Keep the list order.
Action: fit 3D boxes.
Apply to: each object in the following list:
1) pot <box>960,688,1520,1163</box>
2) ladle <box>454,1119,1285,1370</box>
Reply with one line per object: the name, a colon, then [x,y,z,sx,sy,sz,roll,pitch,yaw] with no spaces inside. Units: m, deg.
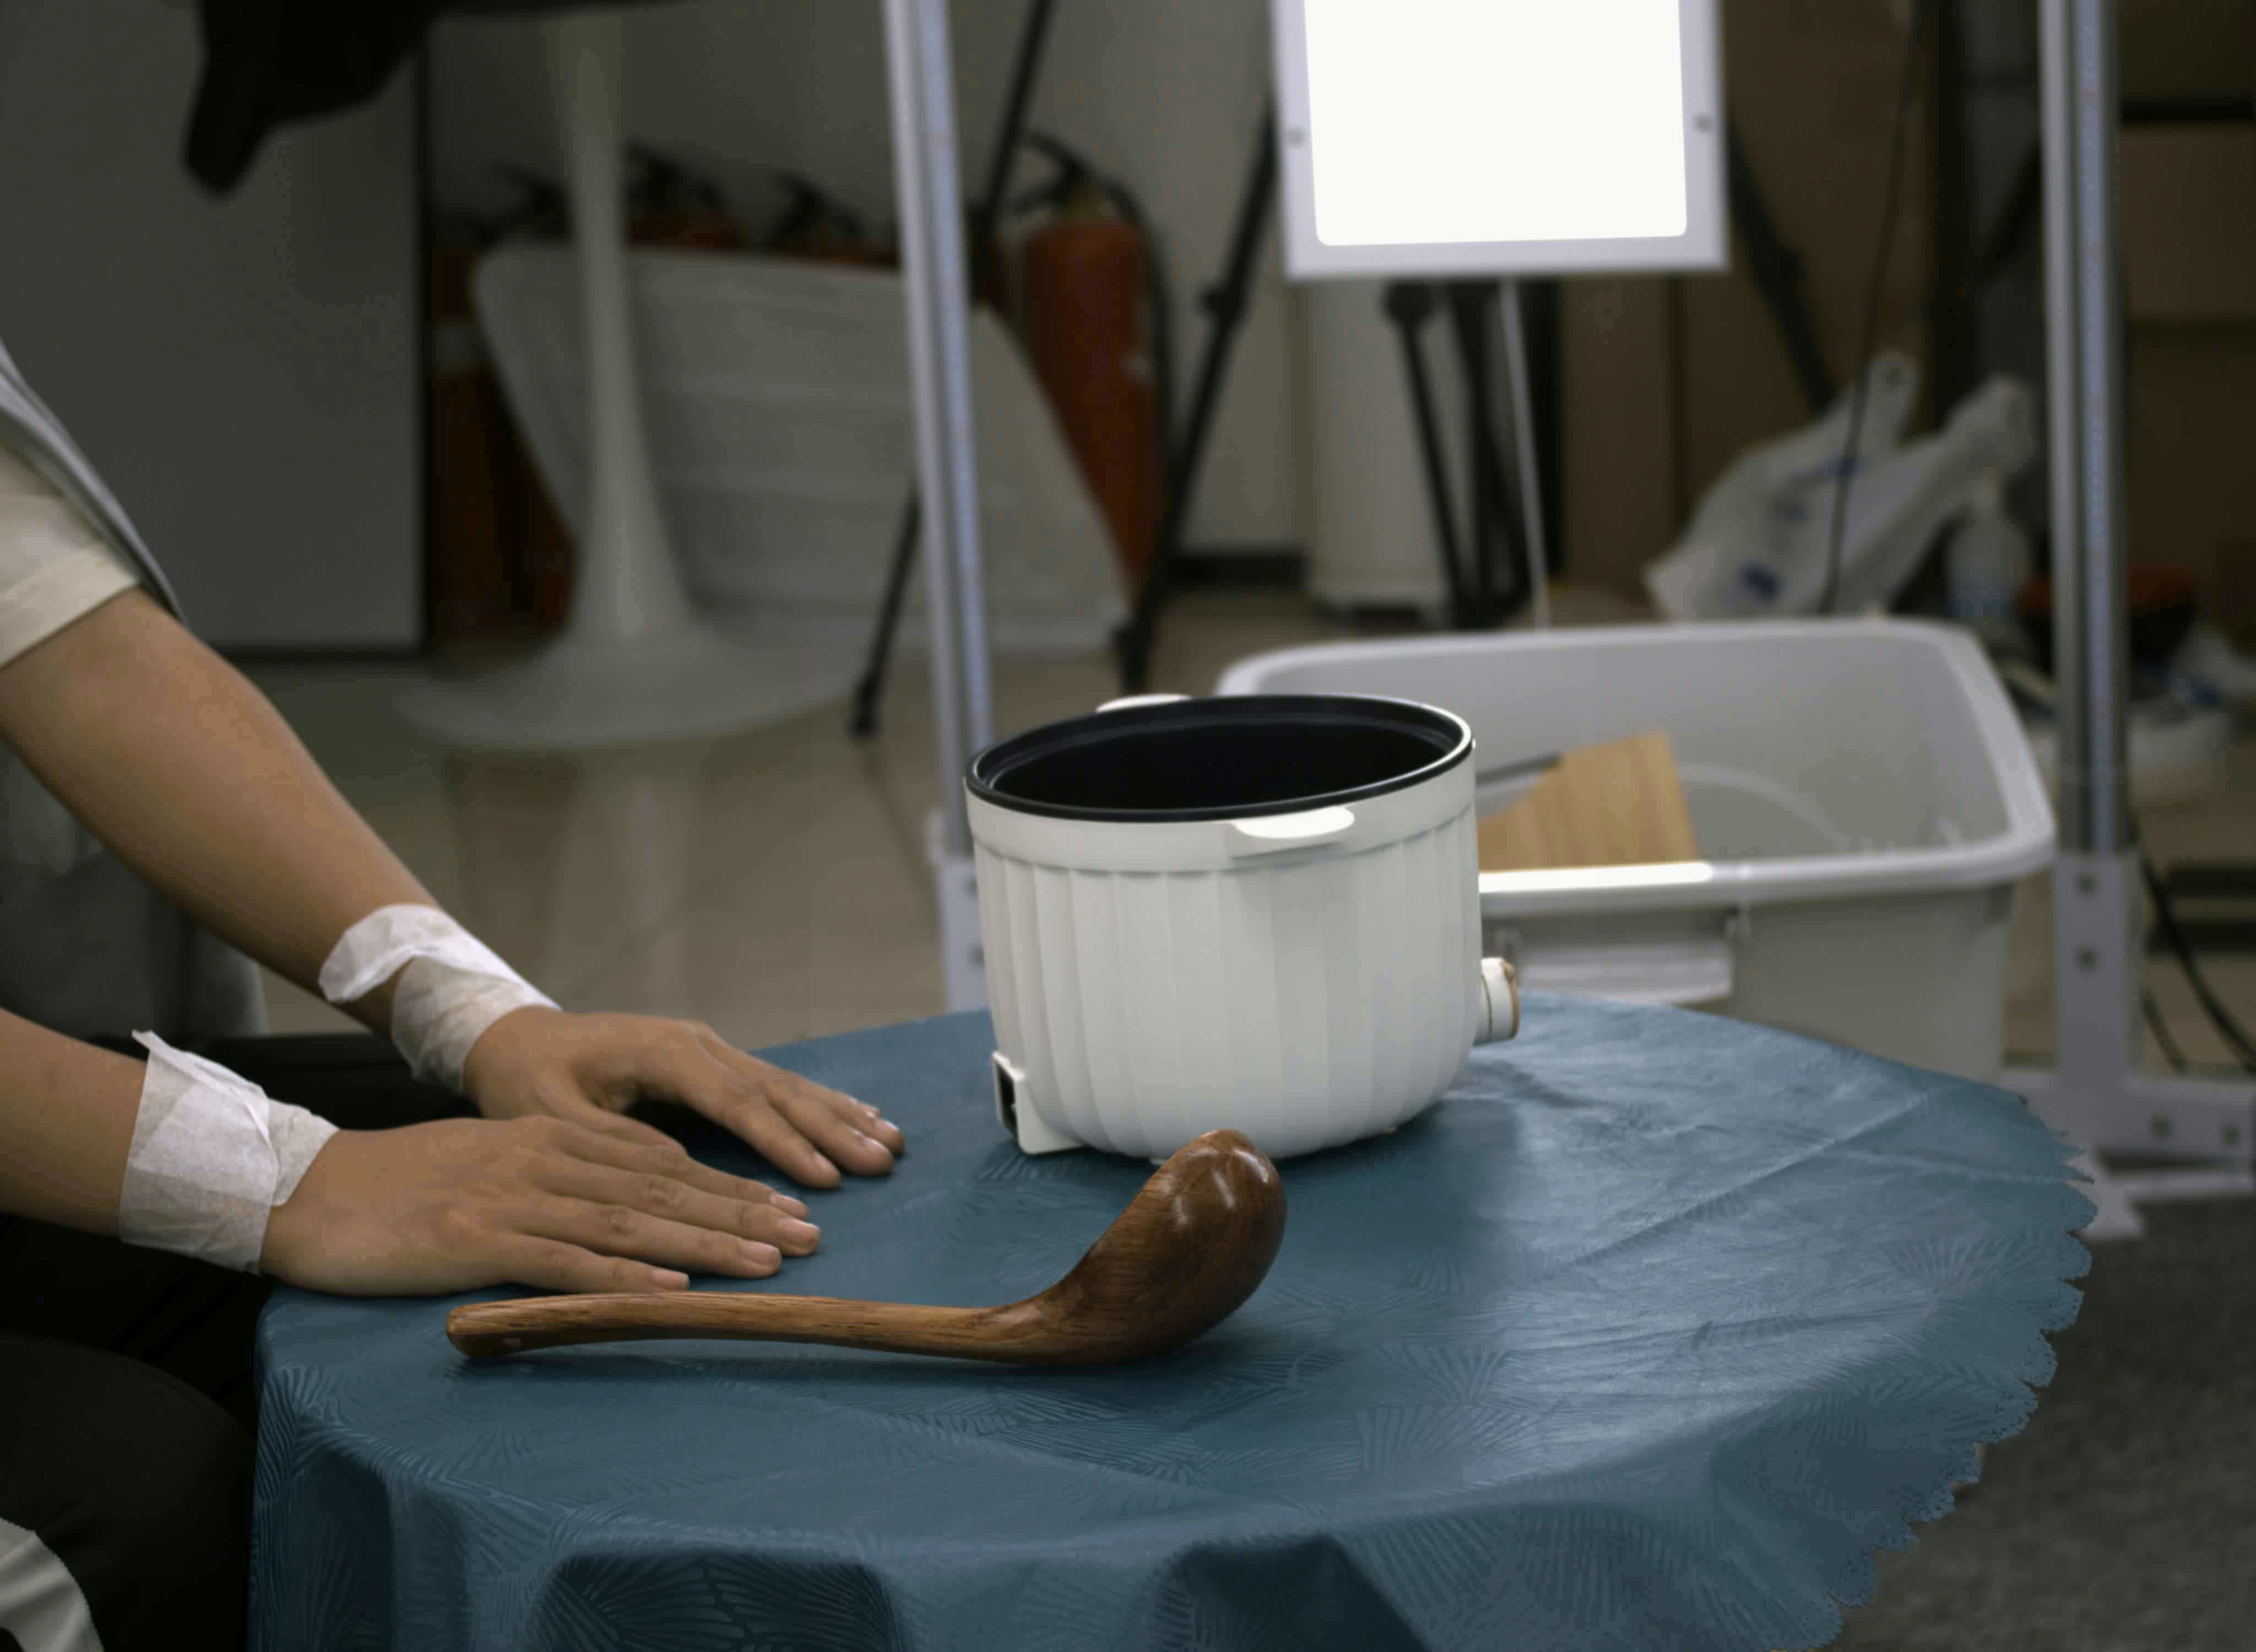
pot: [0.042,0.036,1.959,0.188,0.143,0.242,-11,16,-11]
ladle: [-0.084,0.133,1.753,0.278,0.076,0.081,-2,-28,20]
